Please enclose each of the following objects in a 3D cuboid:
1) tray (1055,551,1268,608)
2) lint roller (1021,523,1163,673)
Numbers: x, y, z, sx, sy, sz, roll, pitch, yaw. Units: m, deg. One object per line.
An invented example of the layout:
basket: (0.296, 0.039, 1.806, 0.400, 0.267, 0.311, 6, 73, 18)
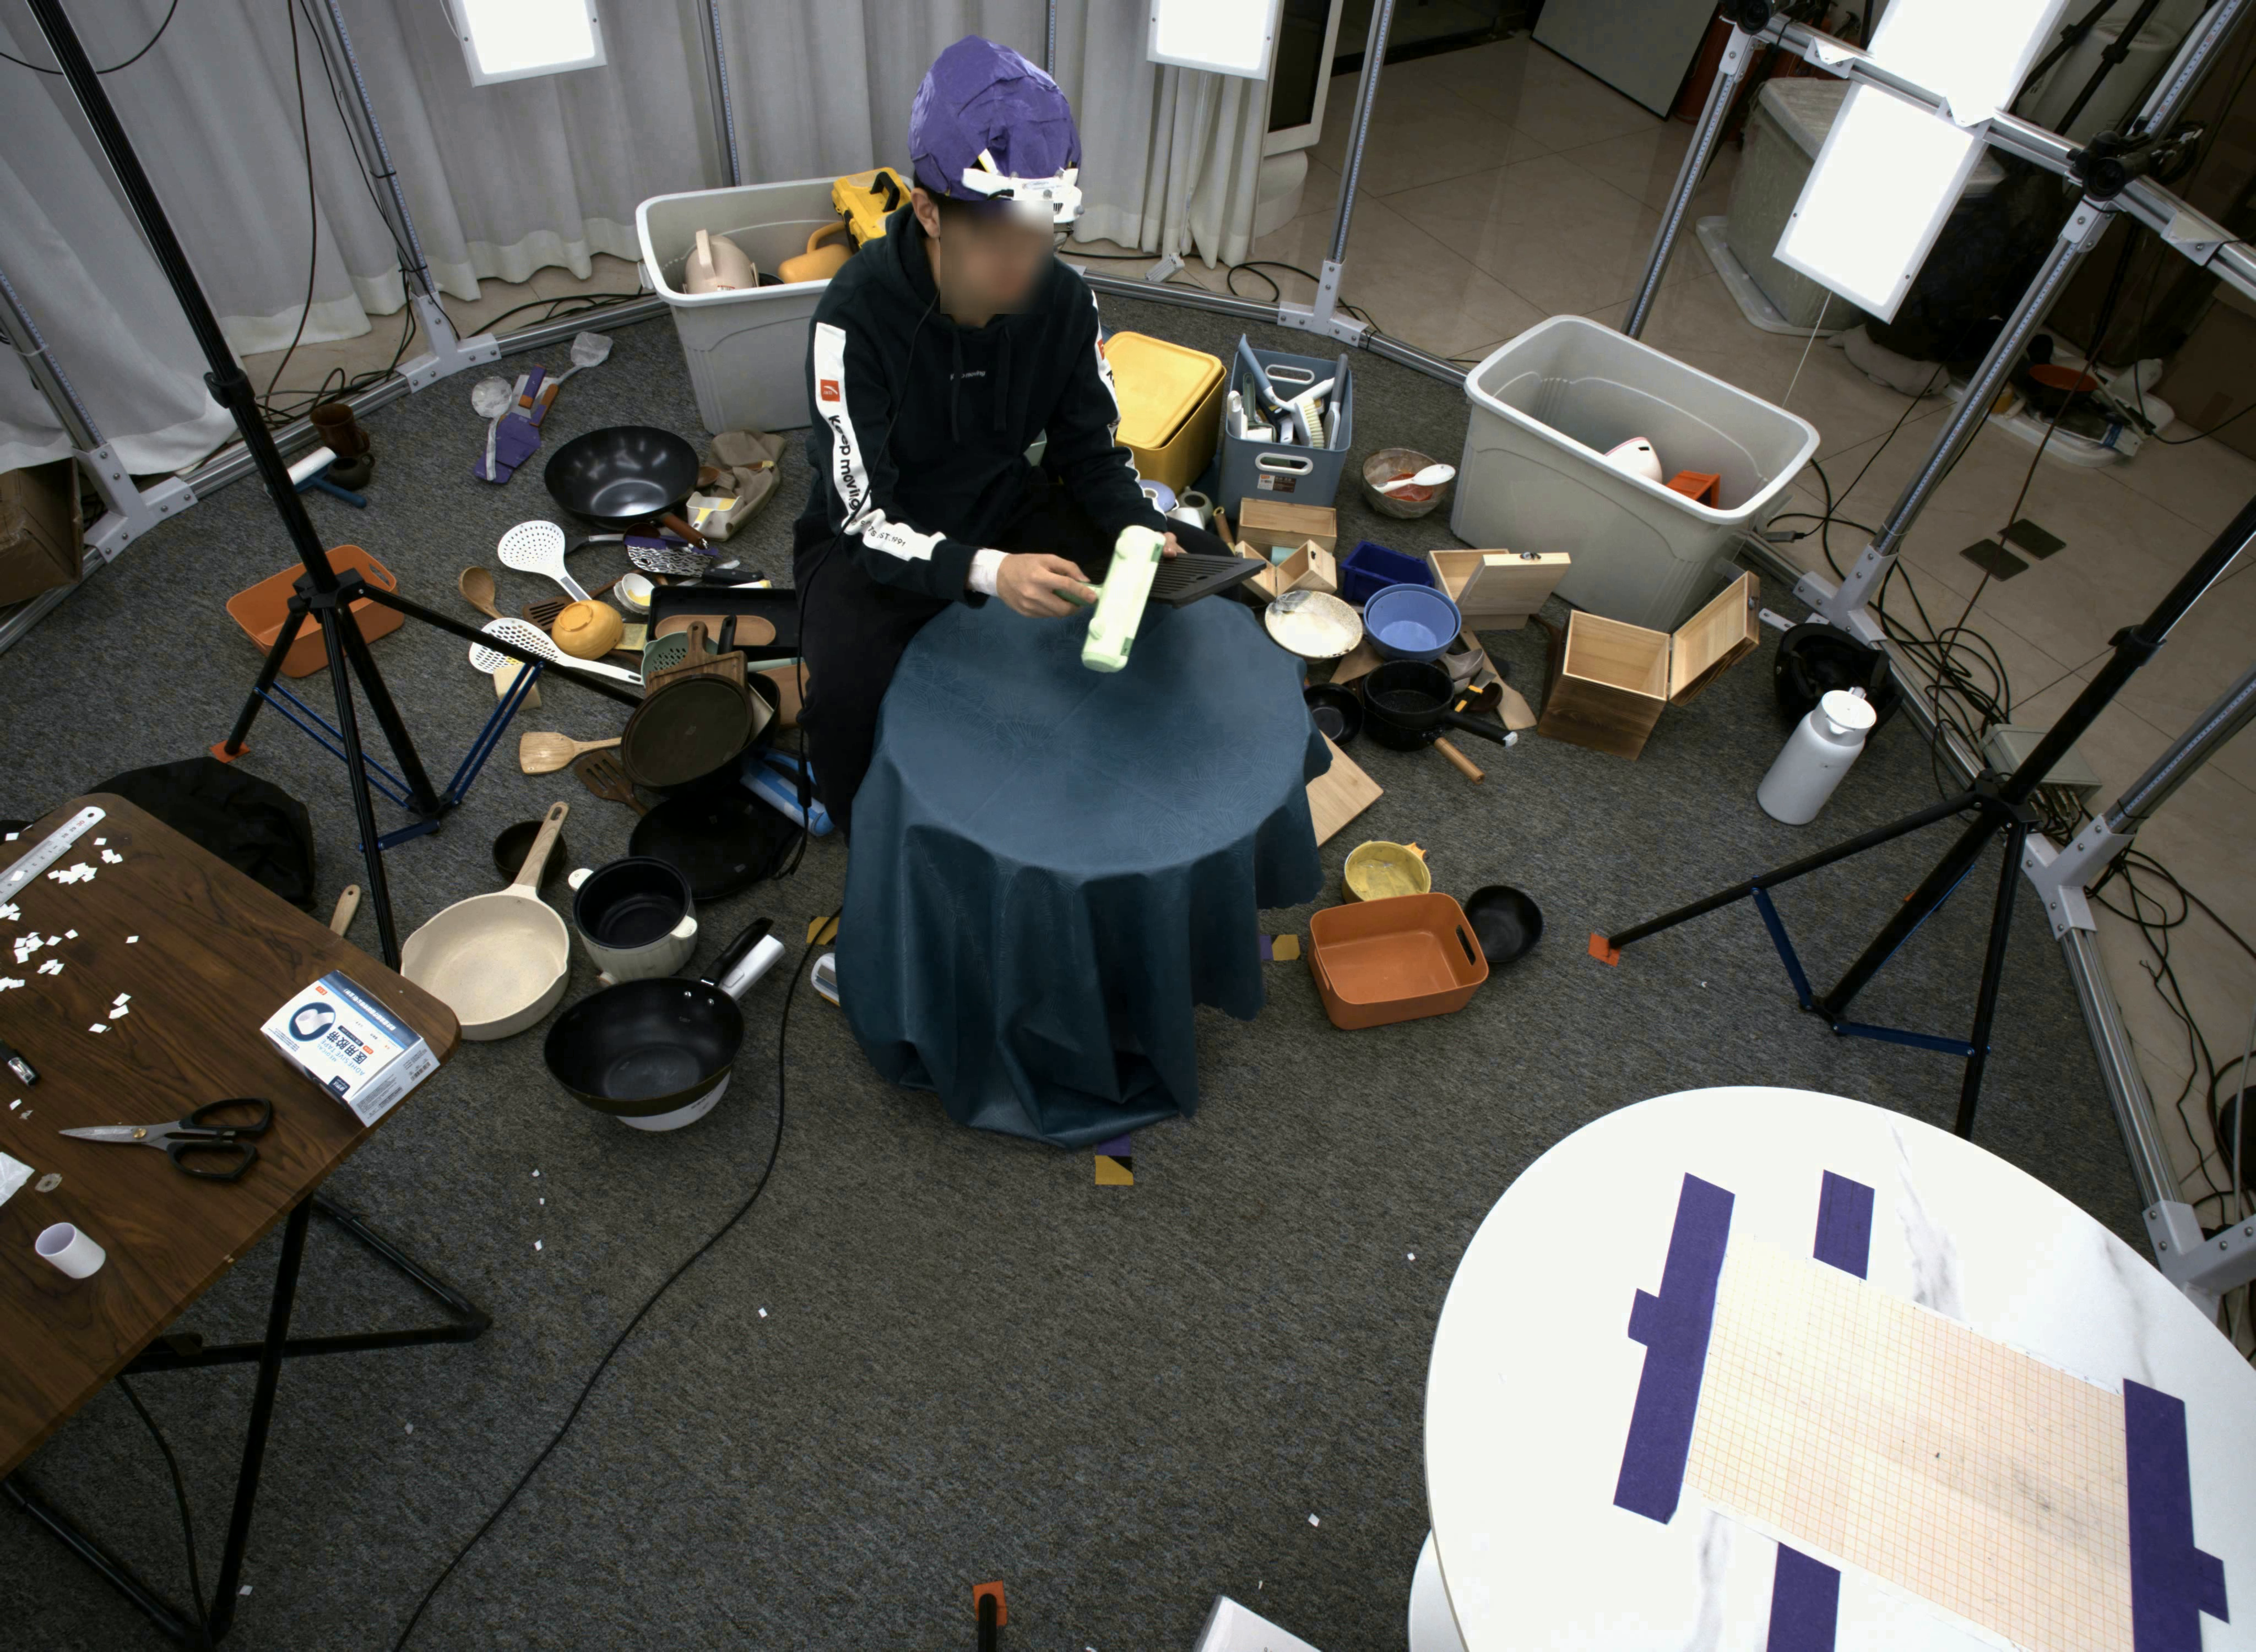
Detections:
tray: (0.037, -0.349, 1.804, 0.171, 0.018, 0.309, -28, 28, -30)
lint roller: (-0.064, -0.311, 1.683, 0.184, 0.081, 0.200, 14, 77, 17)
